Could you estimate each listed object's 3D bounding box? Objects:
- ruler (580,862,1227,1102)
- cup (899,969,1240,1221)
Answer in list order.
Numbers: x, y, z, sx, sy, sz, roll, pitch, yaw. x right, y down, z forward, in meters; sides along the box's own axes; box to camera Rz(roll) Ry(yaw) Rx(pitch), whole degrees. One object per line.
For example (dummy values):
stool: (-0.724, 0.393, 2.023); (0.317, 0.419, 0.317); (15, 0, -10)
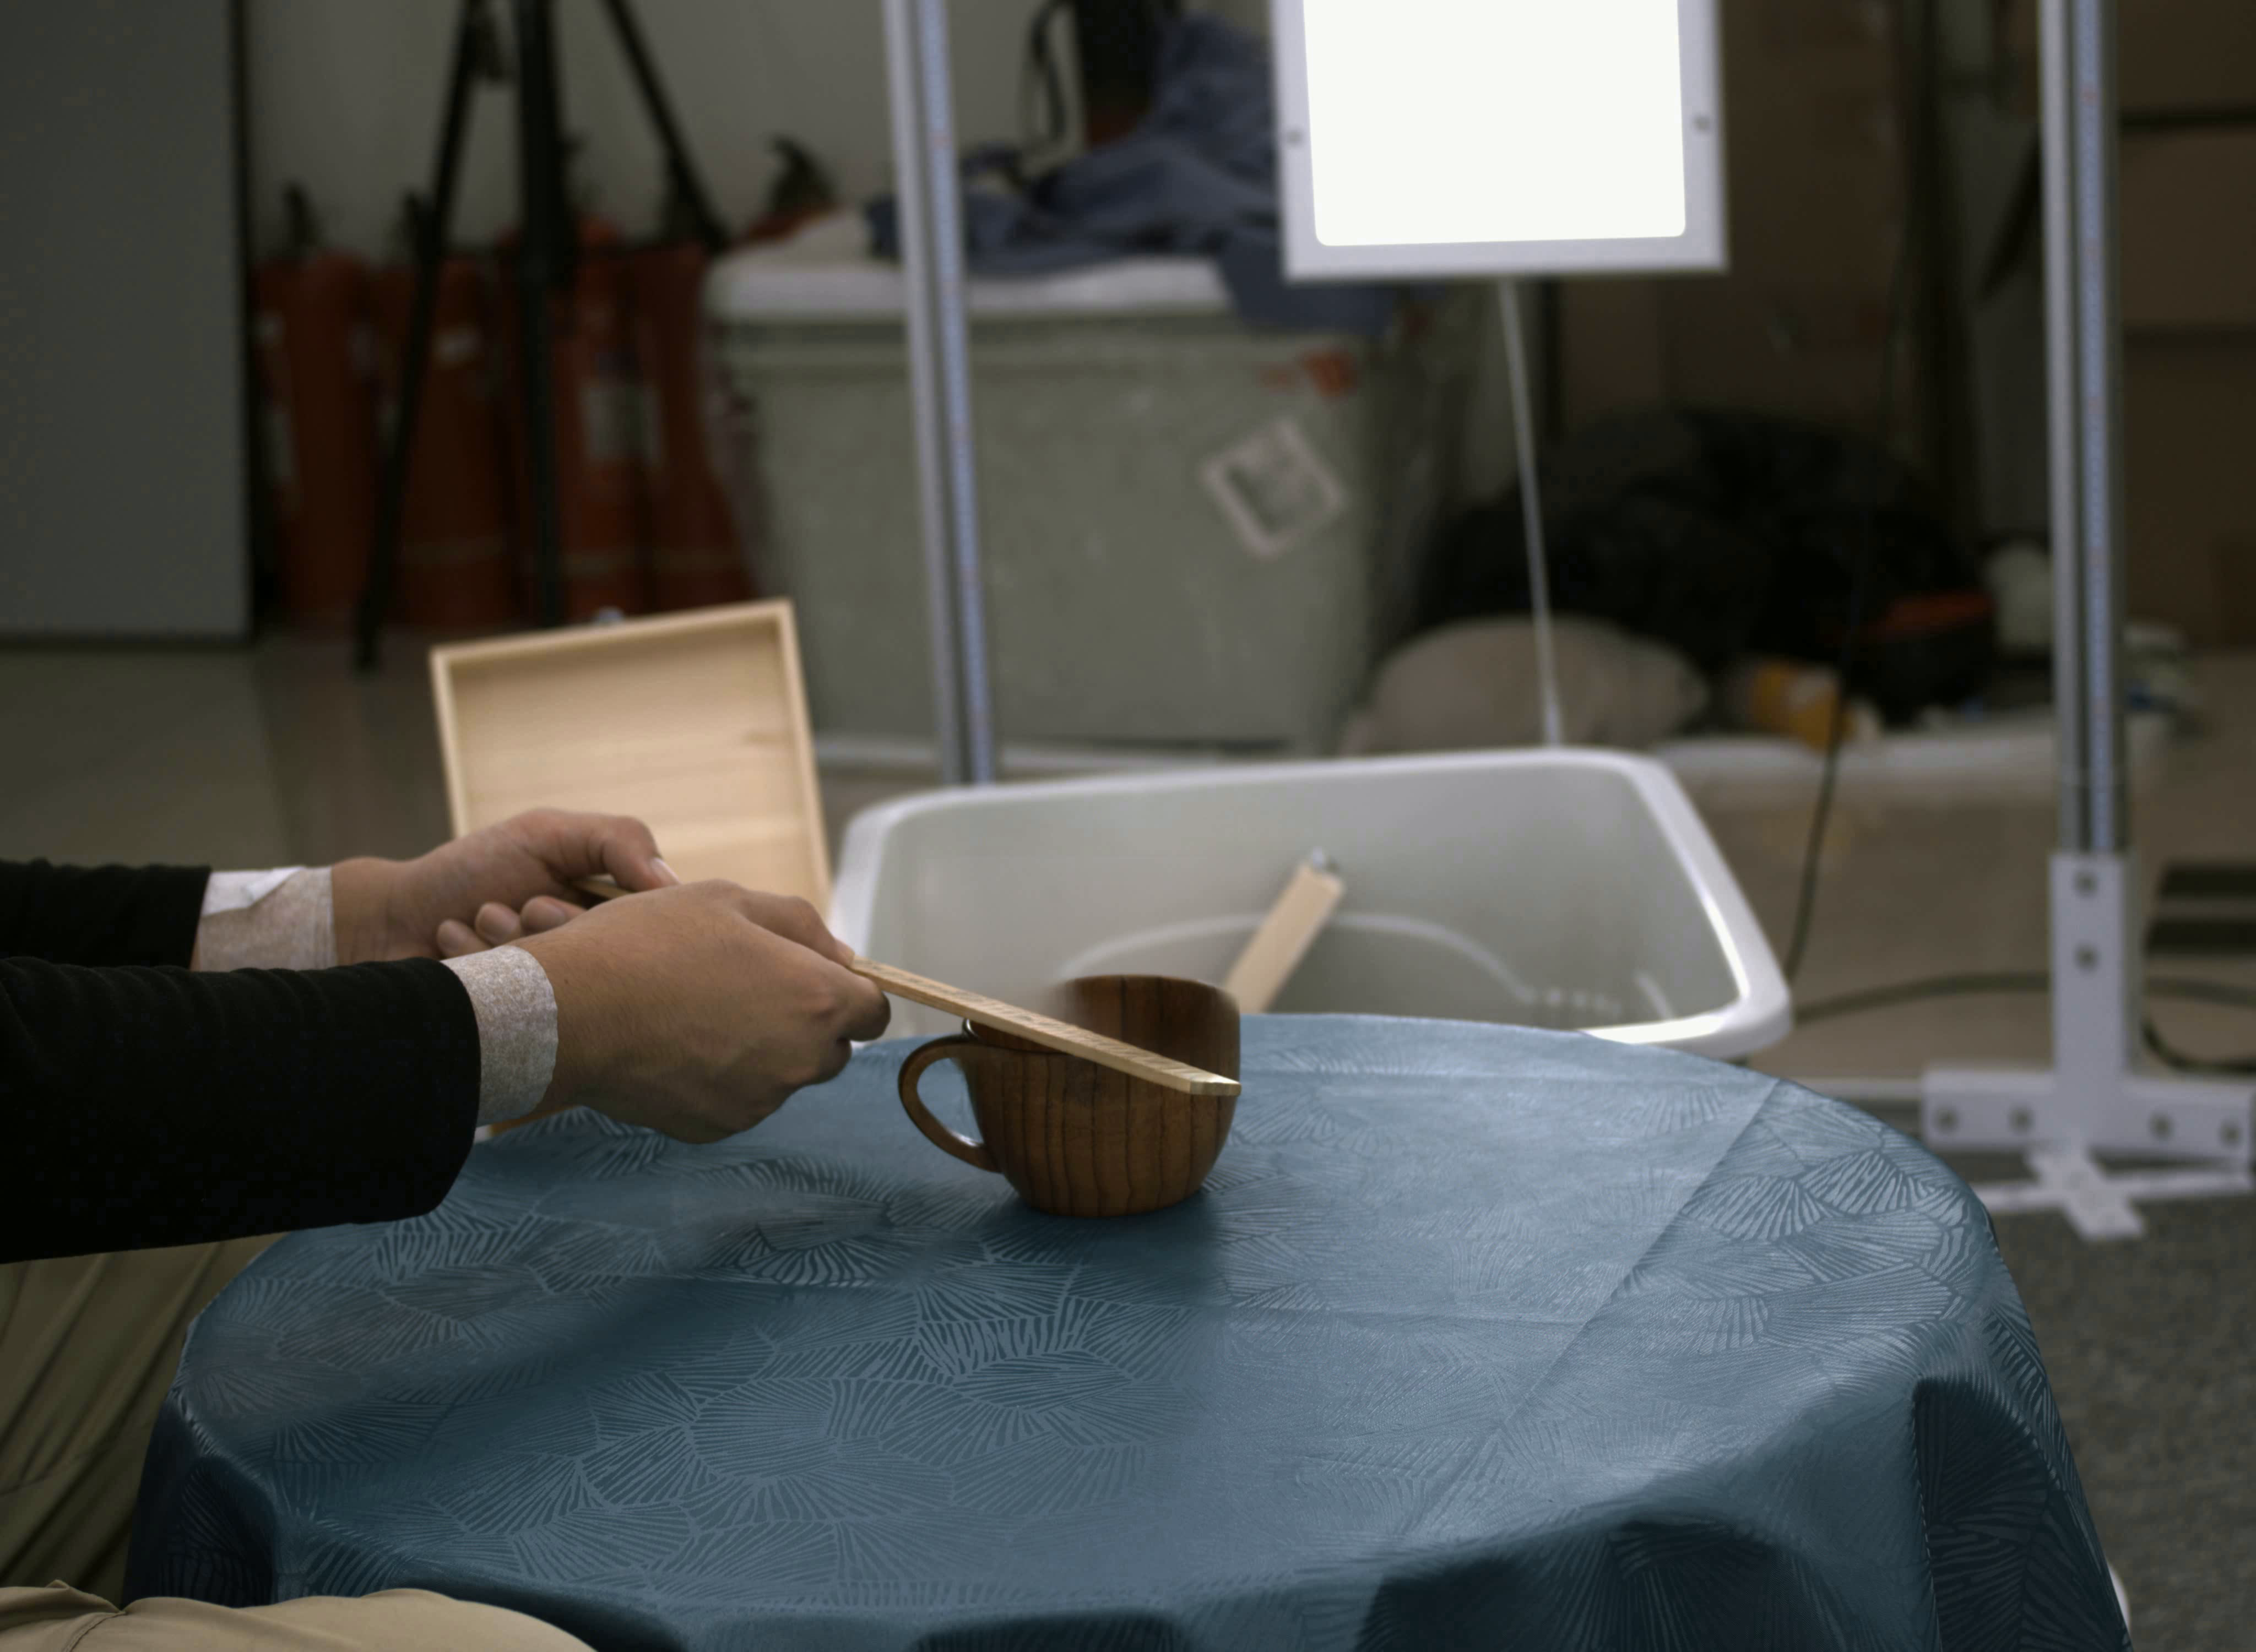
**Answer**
ruler: (-0.084, 0.050, 1.912); (0.027, 0.022, 0.338); (11, 4, -42)
cup: (-0.019, 0.096, 1.895); (0.118, 0.068, 0.096); (-8, 16, -5)
